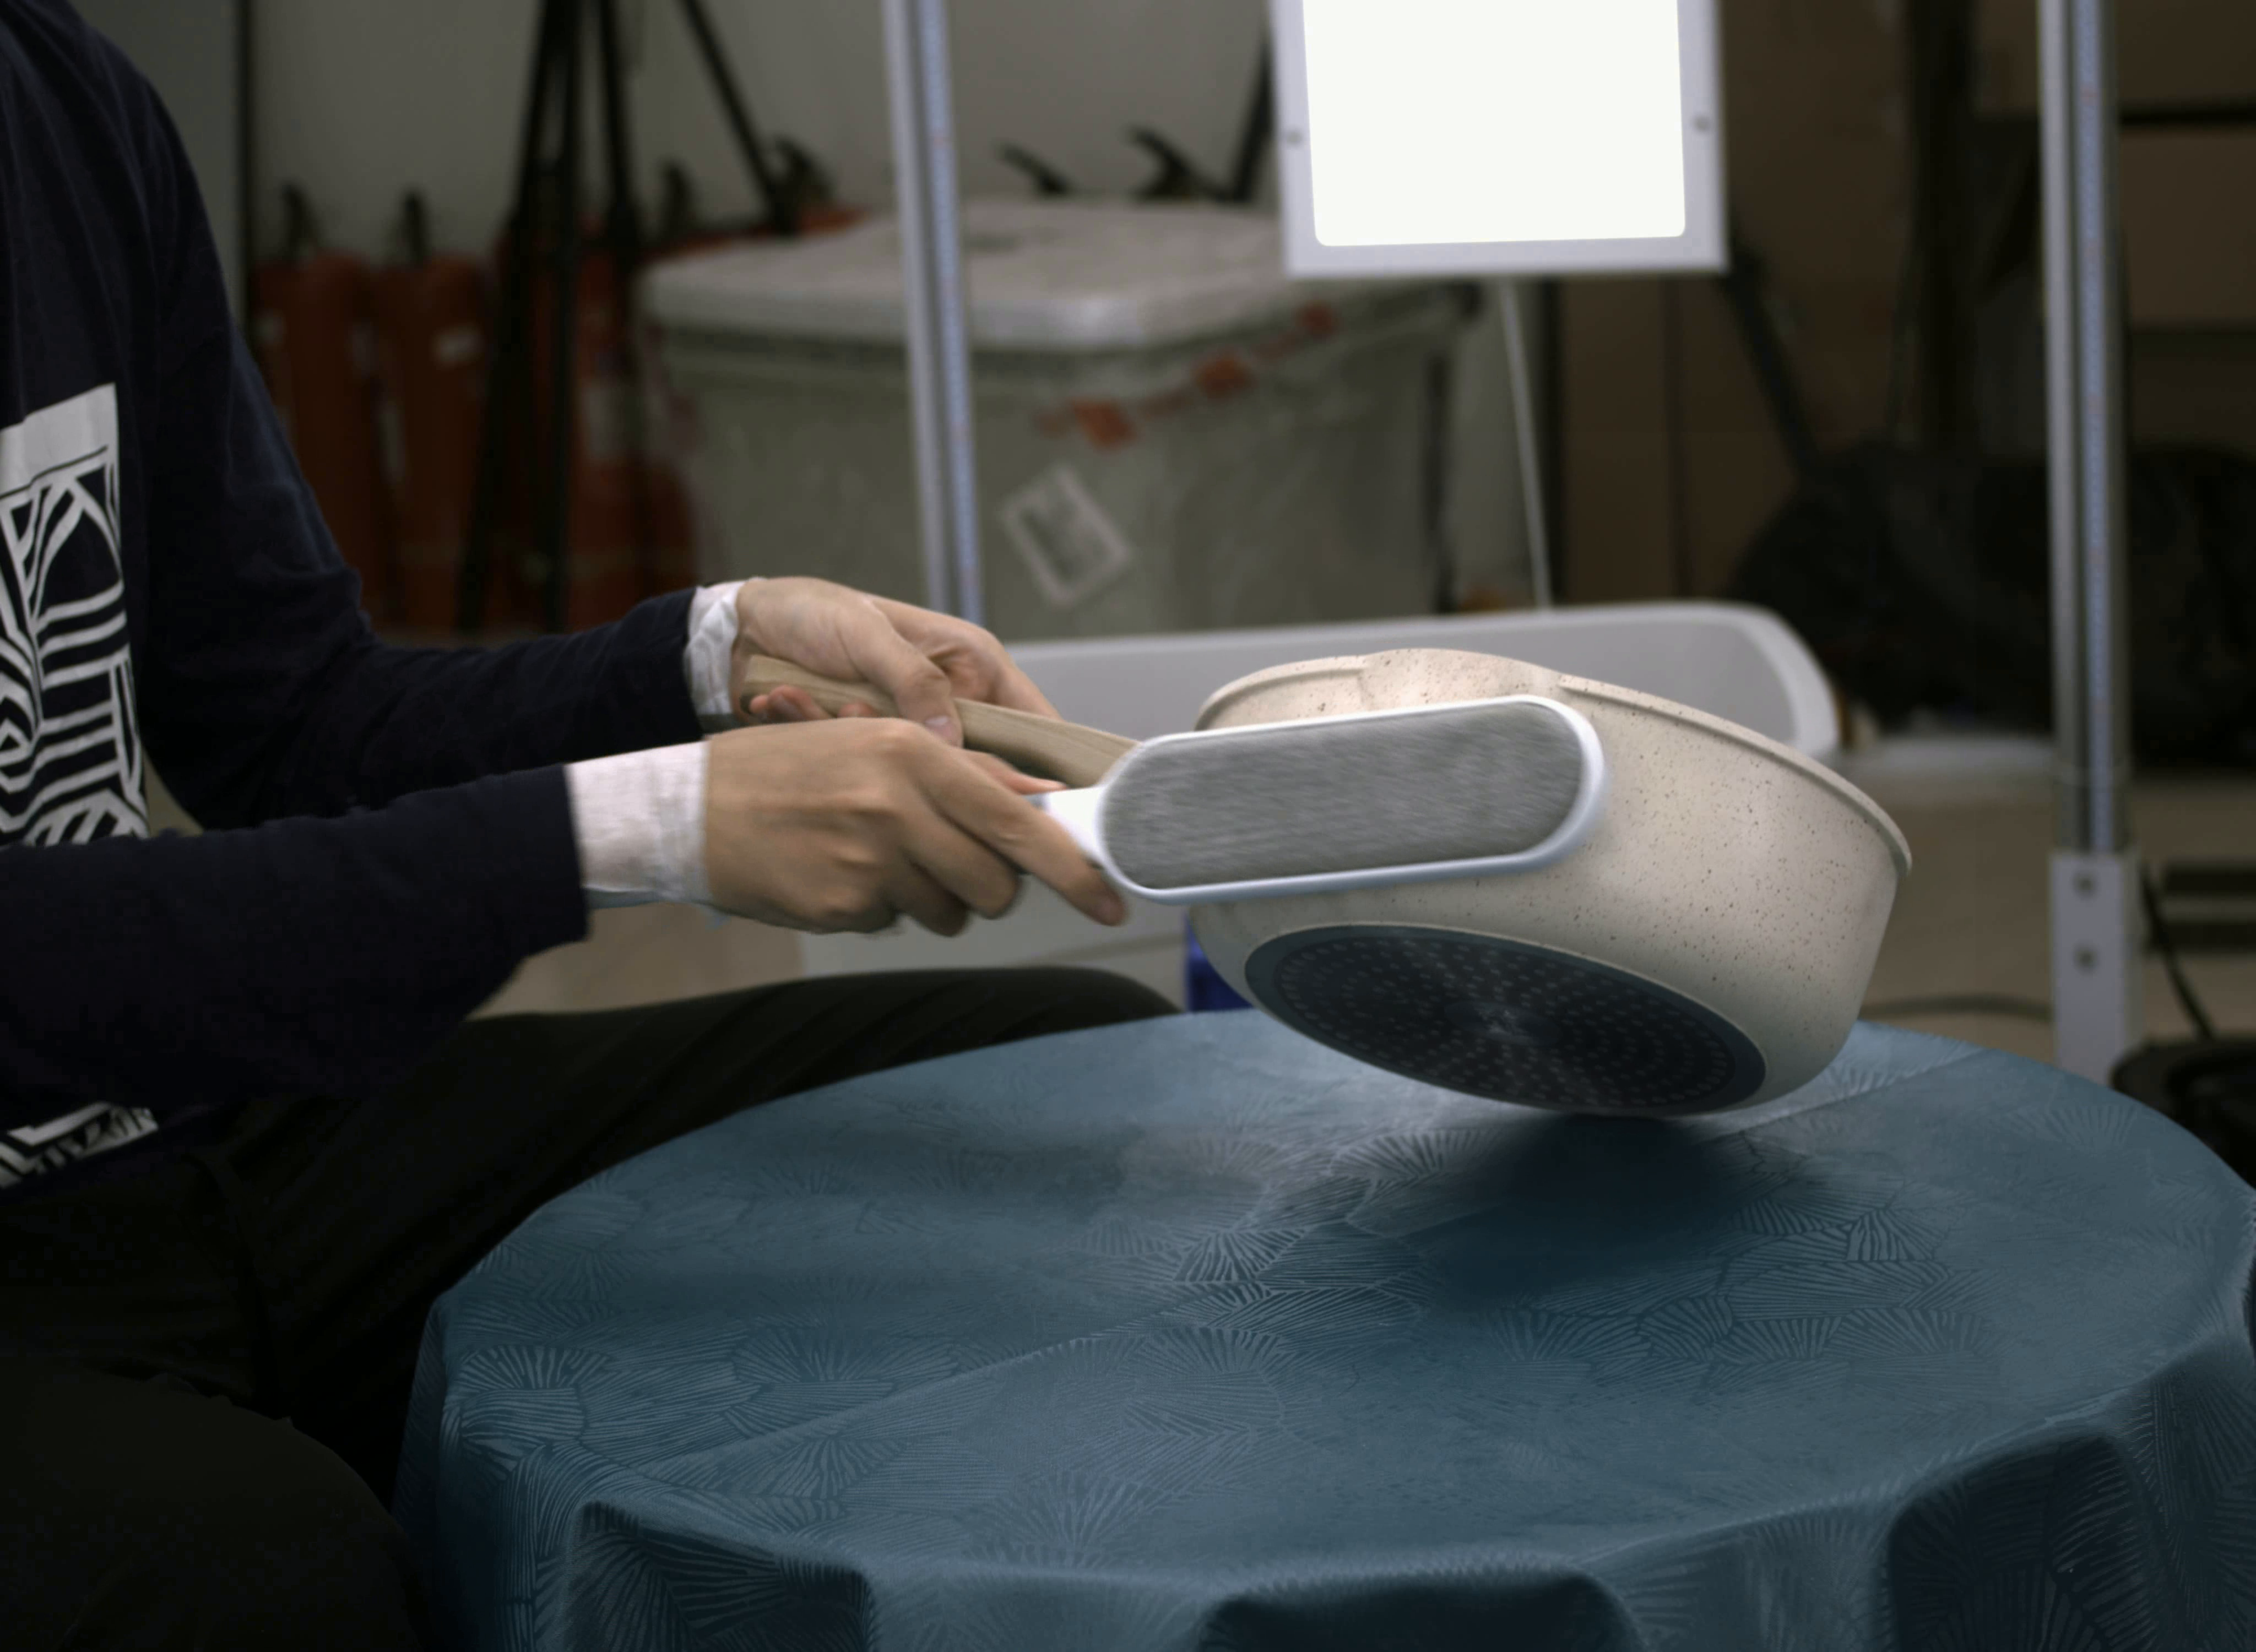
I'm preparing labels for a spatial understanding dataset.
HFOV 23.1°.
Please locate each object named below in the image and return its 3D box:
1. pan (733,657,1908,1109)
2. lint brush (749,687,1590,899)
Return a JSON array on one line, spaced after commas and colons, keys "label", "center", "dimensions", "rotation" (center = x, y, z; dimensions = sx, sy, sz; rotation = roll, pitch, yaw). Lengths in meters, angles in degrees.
[{"label": "pan", "center": [0.053, 0.013, 1.914], "dimensions": [0.441, 0.102, 0.260], "rotation": [7, -16, 22]}, {"label": "lint brush", "center": [0.009, -0.006, 1.802], "dimensions": [0.315, 0.060, 0.020], "rotation": [-6, -13, 29]}]
